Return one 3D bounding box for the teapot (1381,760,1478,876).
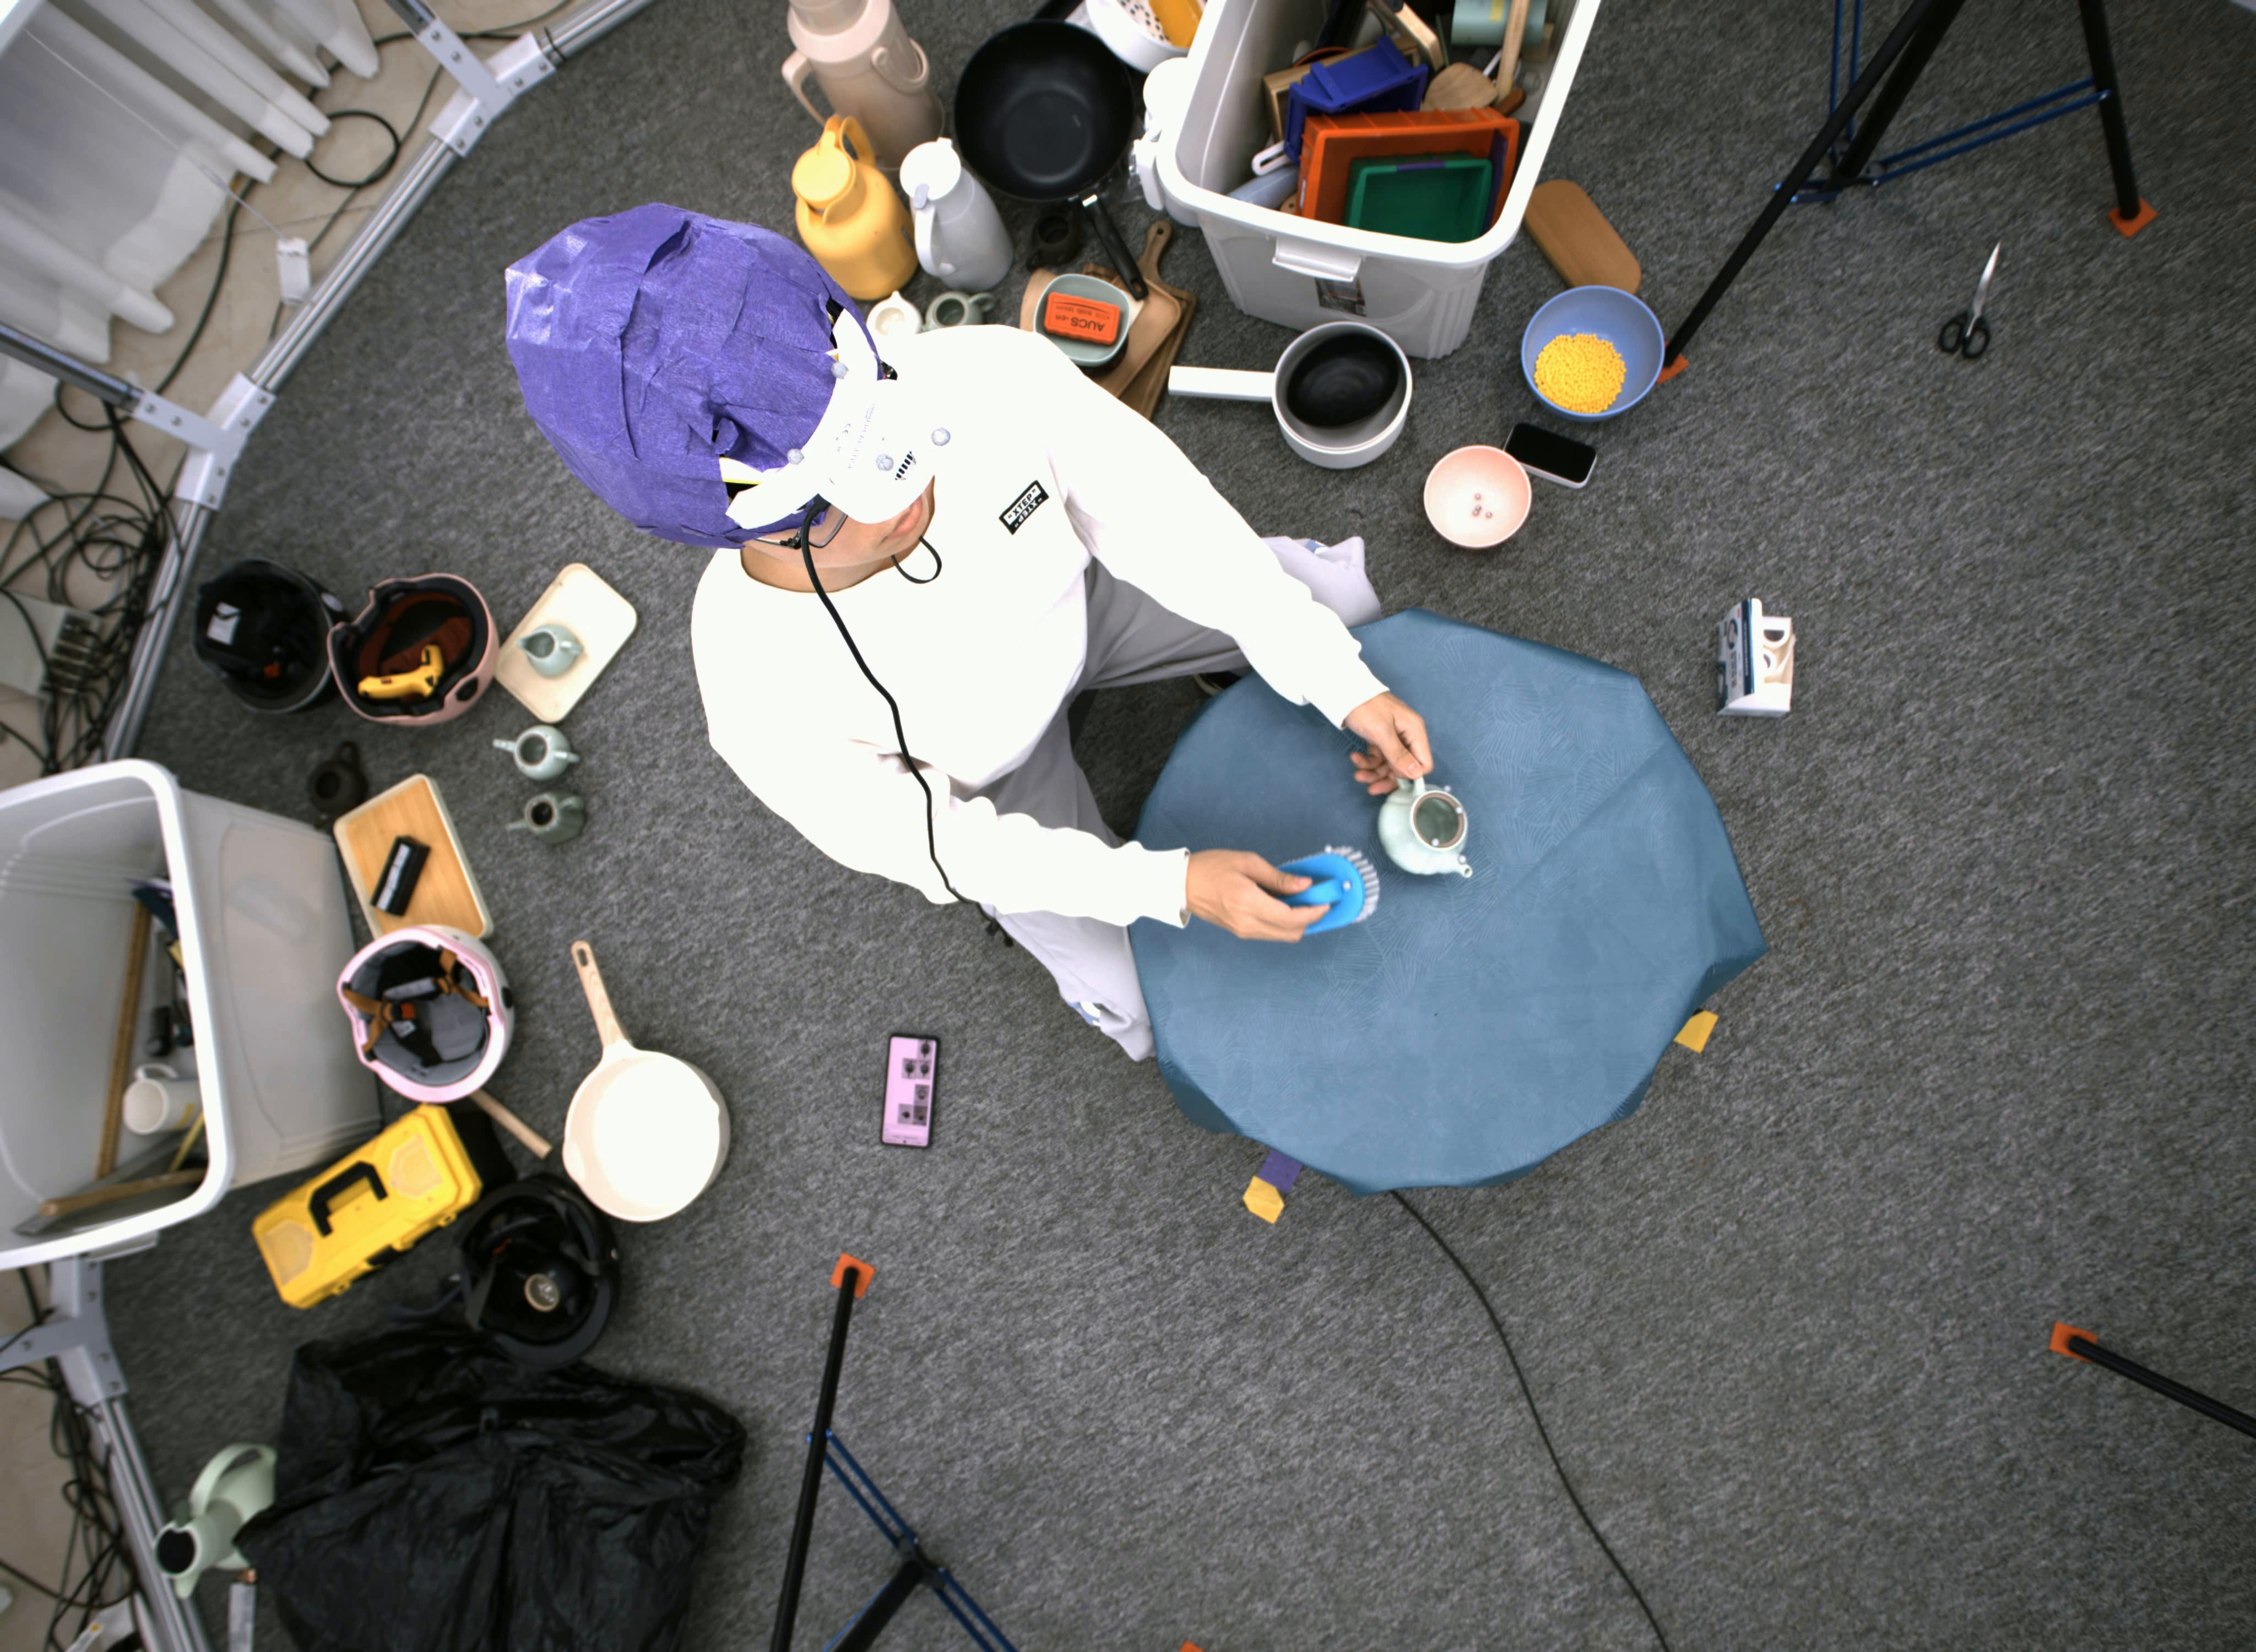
[{"bbox_3d":[0.308,-0.007,1.409,0.095,0.062,0.137,-29,88,-12],"label":"teapot"}]

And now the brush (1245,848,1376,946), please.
[{"bbox_3d":[0.174,0.075,1.374,0.144,0.062,0.084,-18,95,42],"label":"brush"}]
